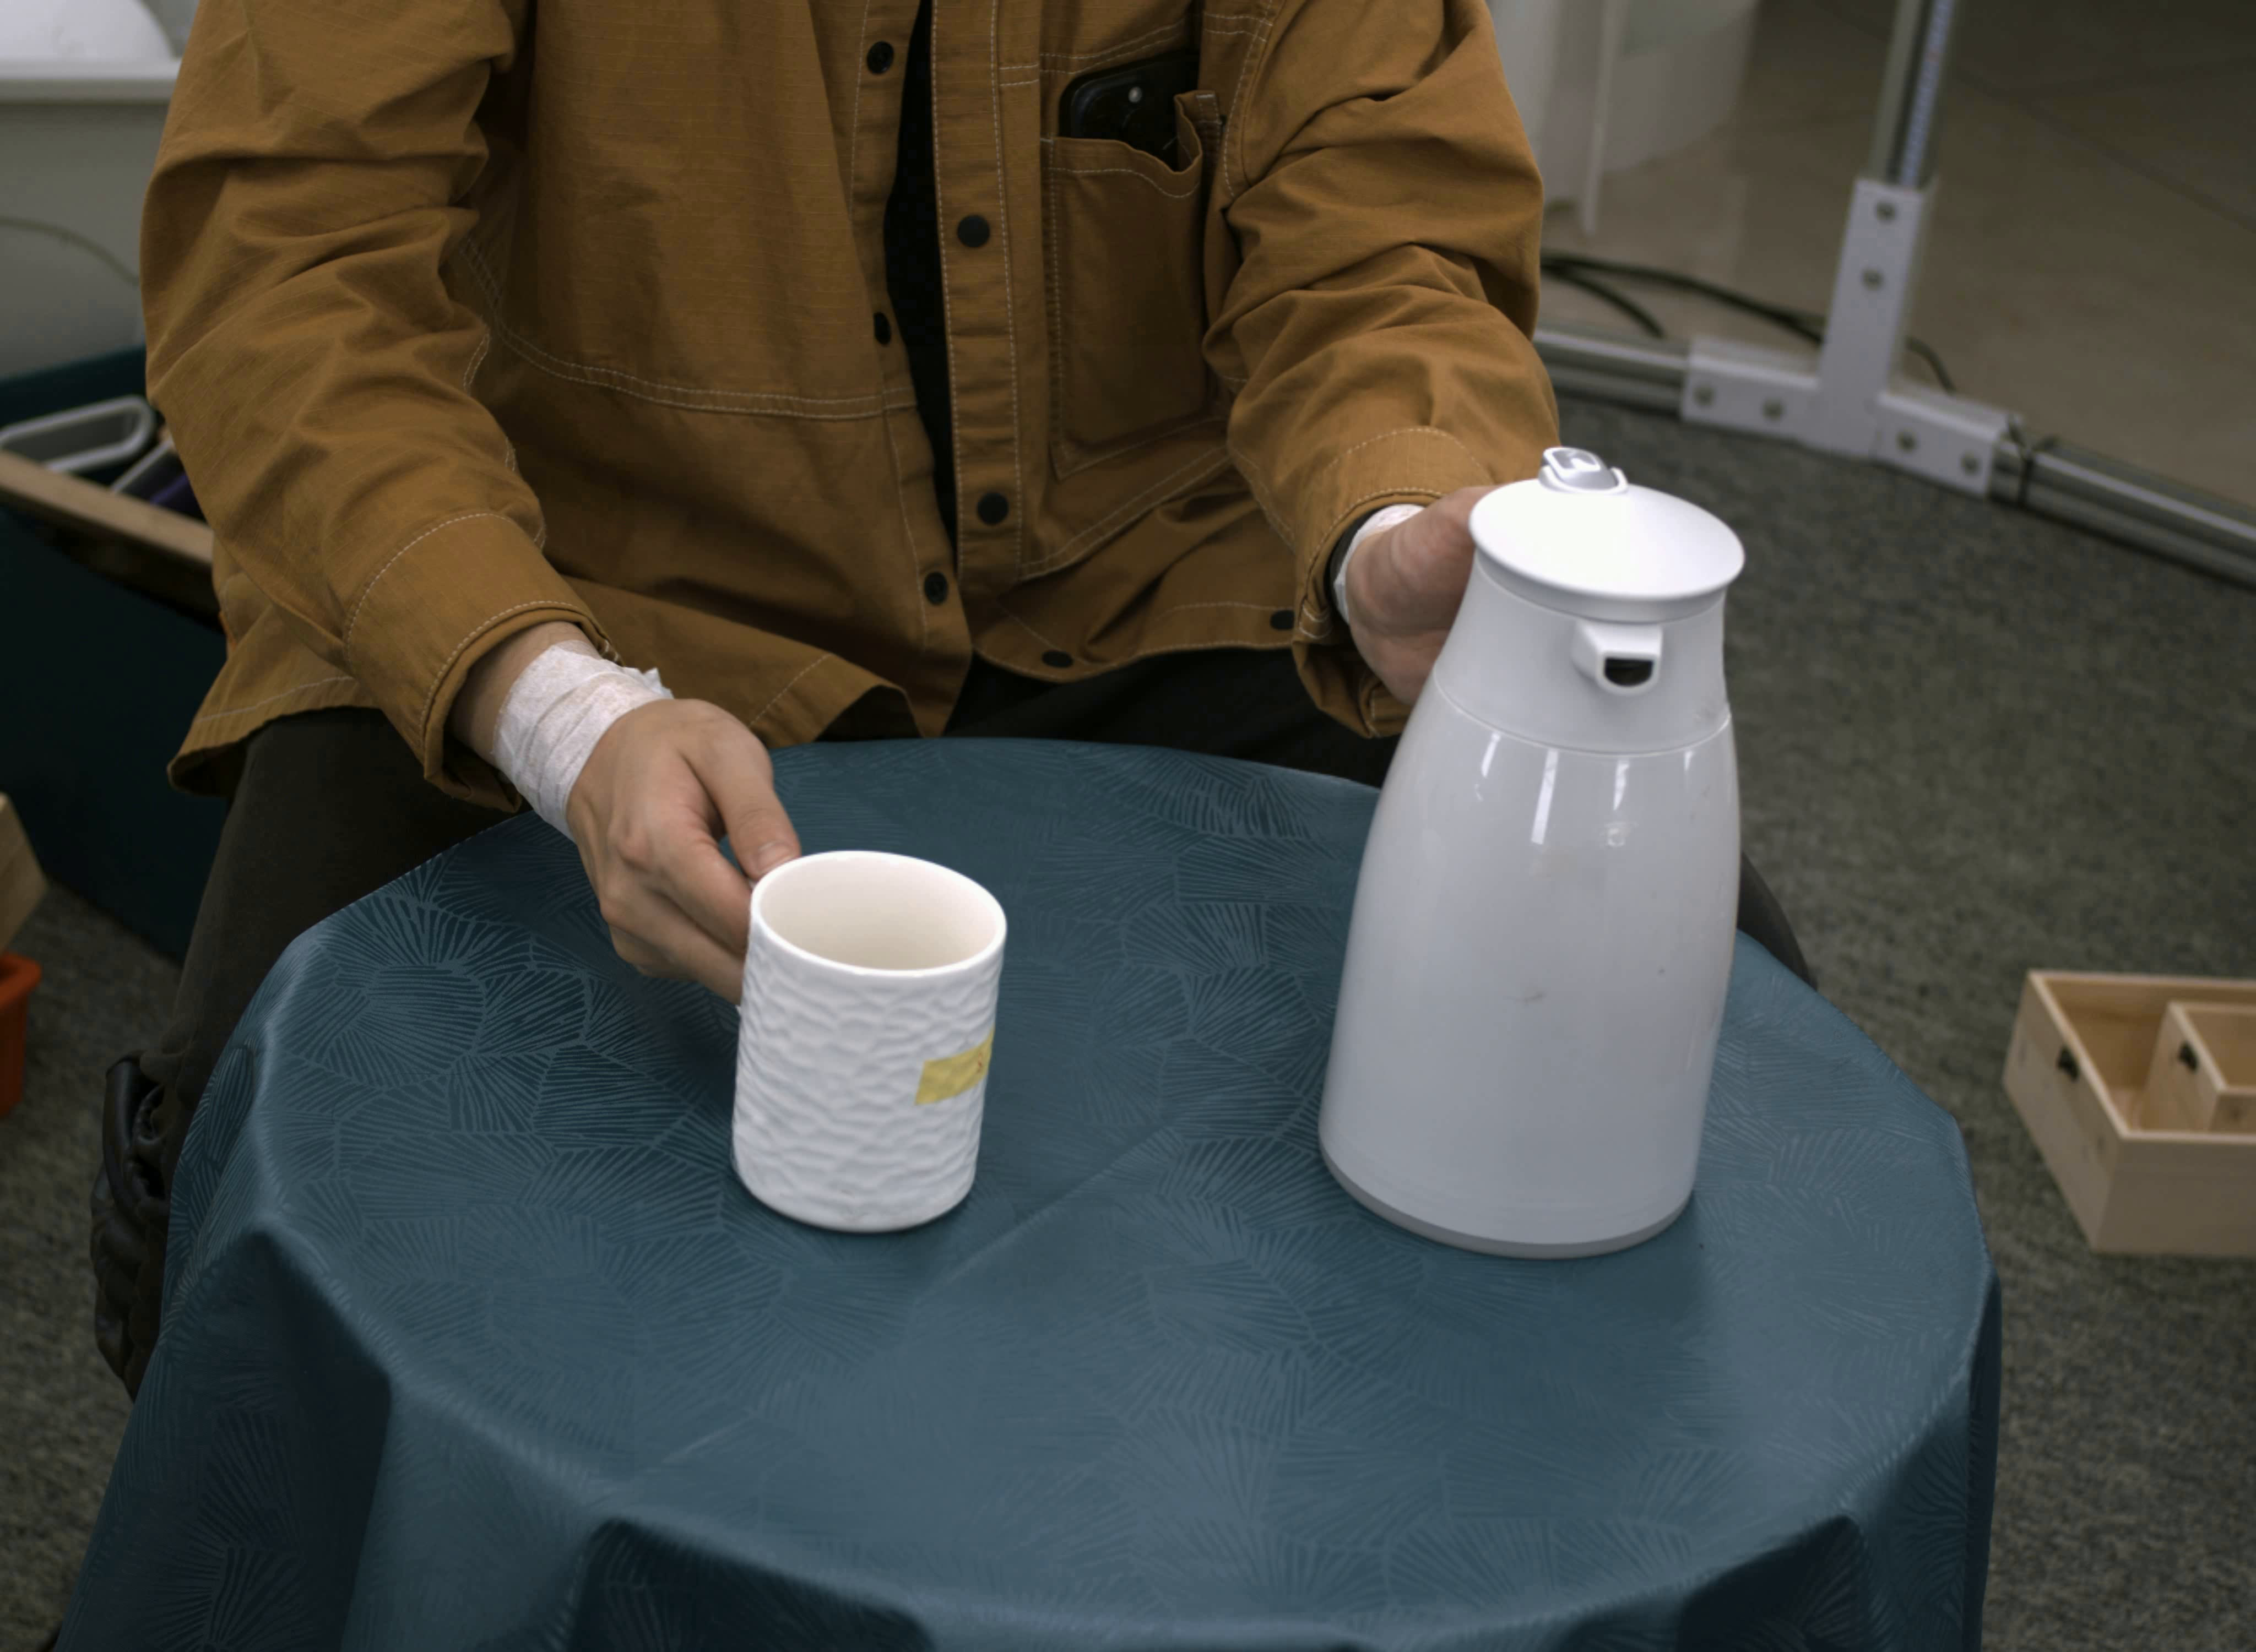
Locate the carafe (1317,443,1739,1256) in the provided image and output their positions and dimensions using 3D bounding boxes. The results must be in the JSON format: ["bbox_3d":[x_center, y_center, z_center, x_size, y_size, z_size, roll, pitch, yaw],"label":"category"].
[{"bbox_3d":[0.140,-0.003,1.811,0.132,0.248,0.169,2,26,-8],"label":"carafe"}]

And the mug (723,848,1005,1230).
[{"bbox_3d":[-0.098,0.065,1.785,0.084,0.101,0.119,-15,33,-36],"label":"mug"}]
